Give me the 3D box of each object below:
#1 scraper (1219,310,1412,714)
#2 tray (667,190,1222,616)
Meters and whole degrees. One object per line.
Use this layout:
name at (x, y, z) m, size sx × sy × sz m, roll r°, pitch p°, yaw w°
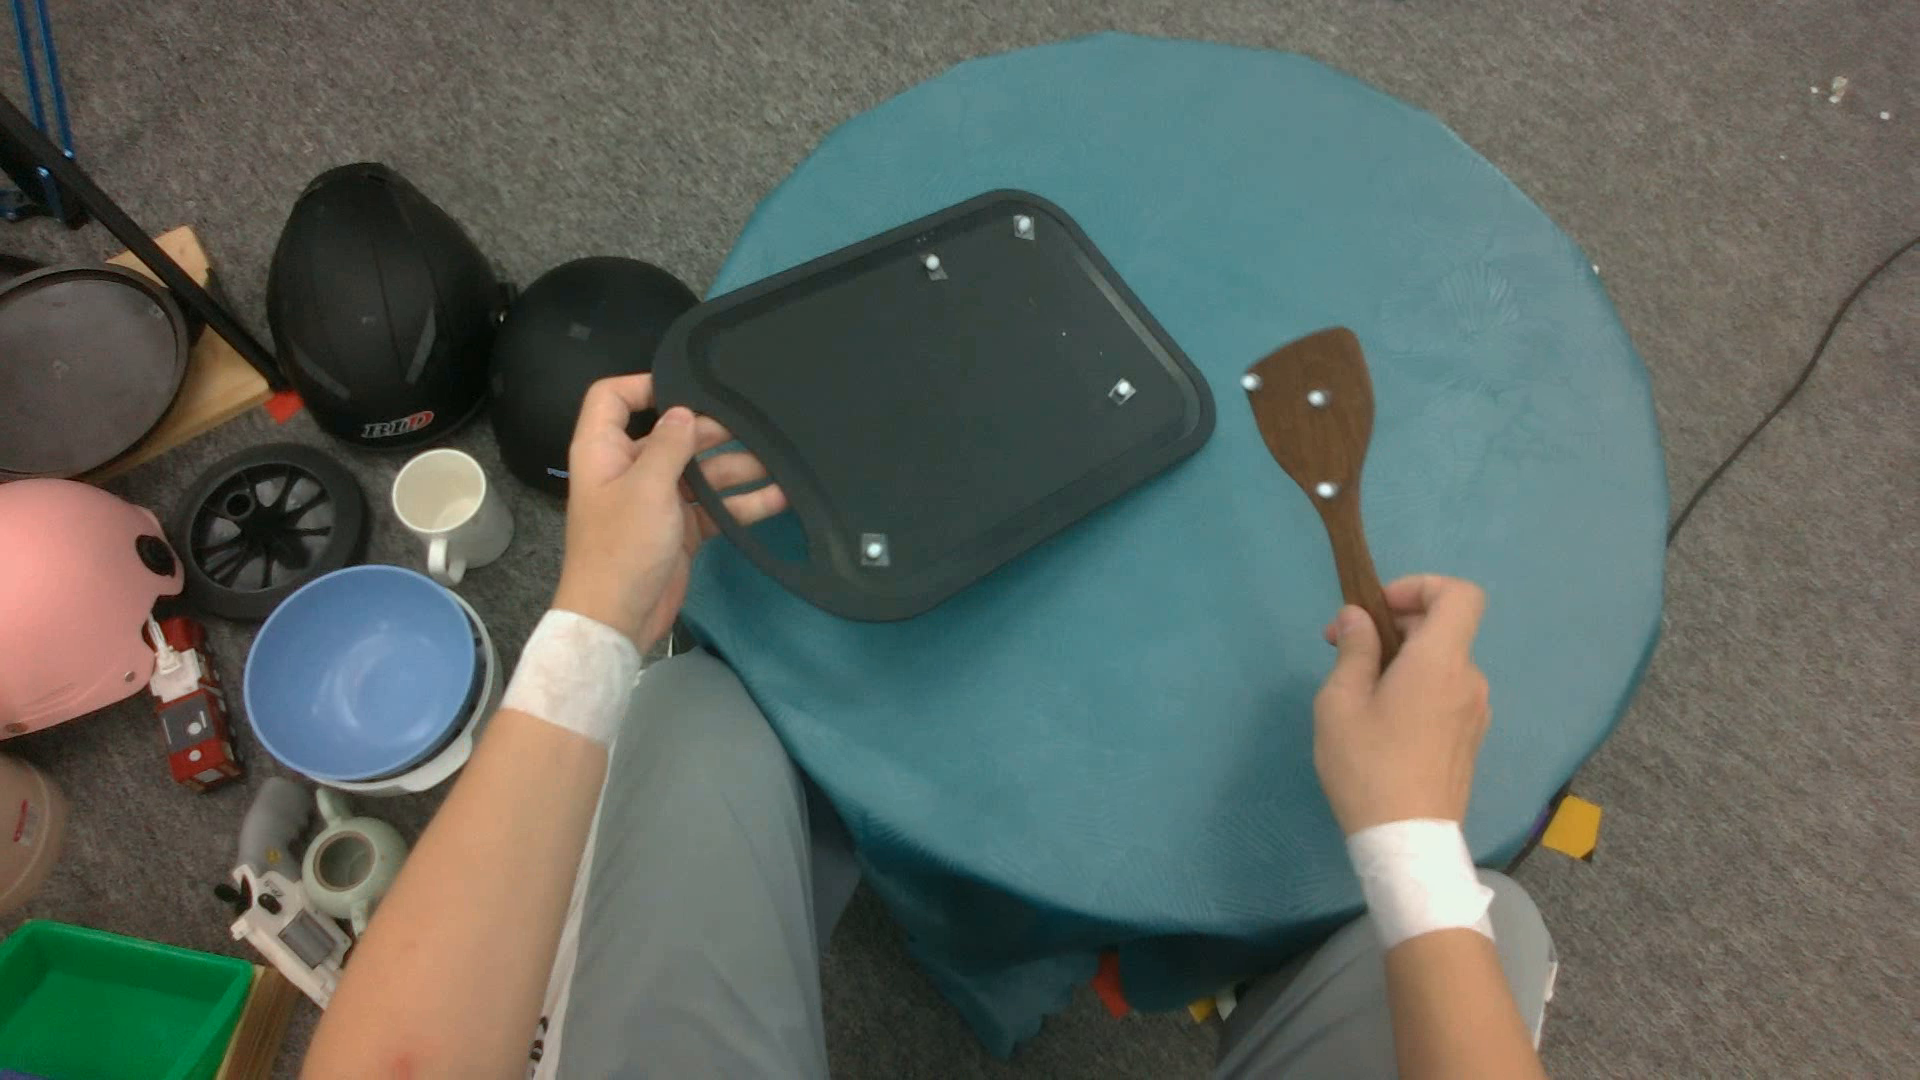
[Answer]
scraper at (0.193, -0.013, 0.717) m, size 0.011 × 0.075 × 0.211 m, roll -11°, pitch 82°, yaw -41°
tray at (-0.002, -0.089, 0.782) m, size 0.327 × 0.010 × 0.211 m, roll -30°, pitch 75°, yaw -33°
